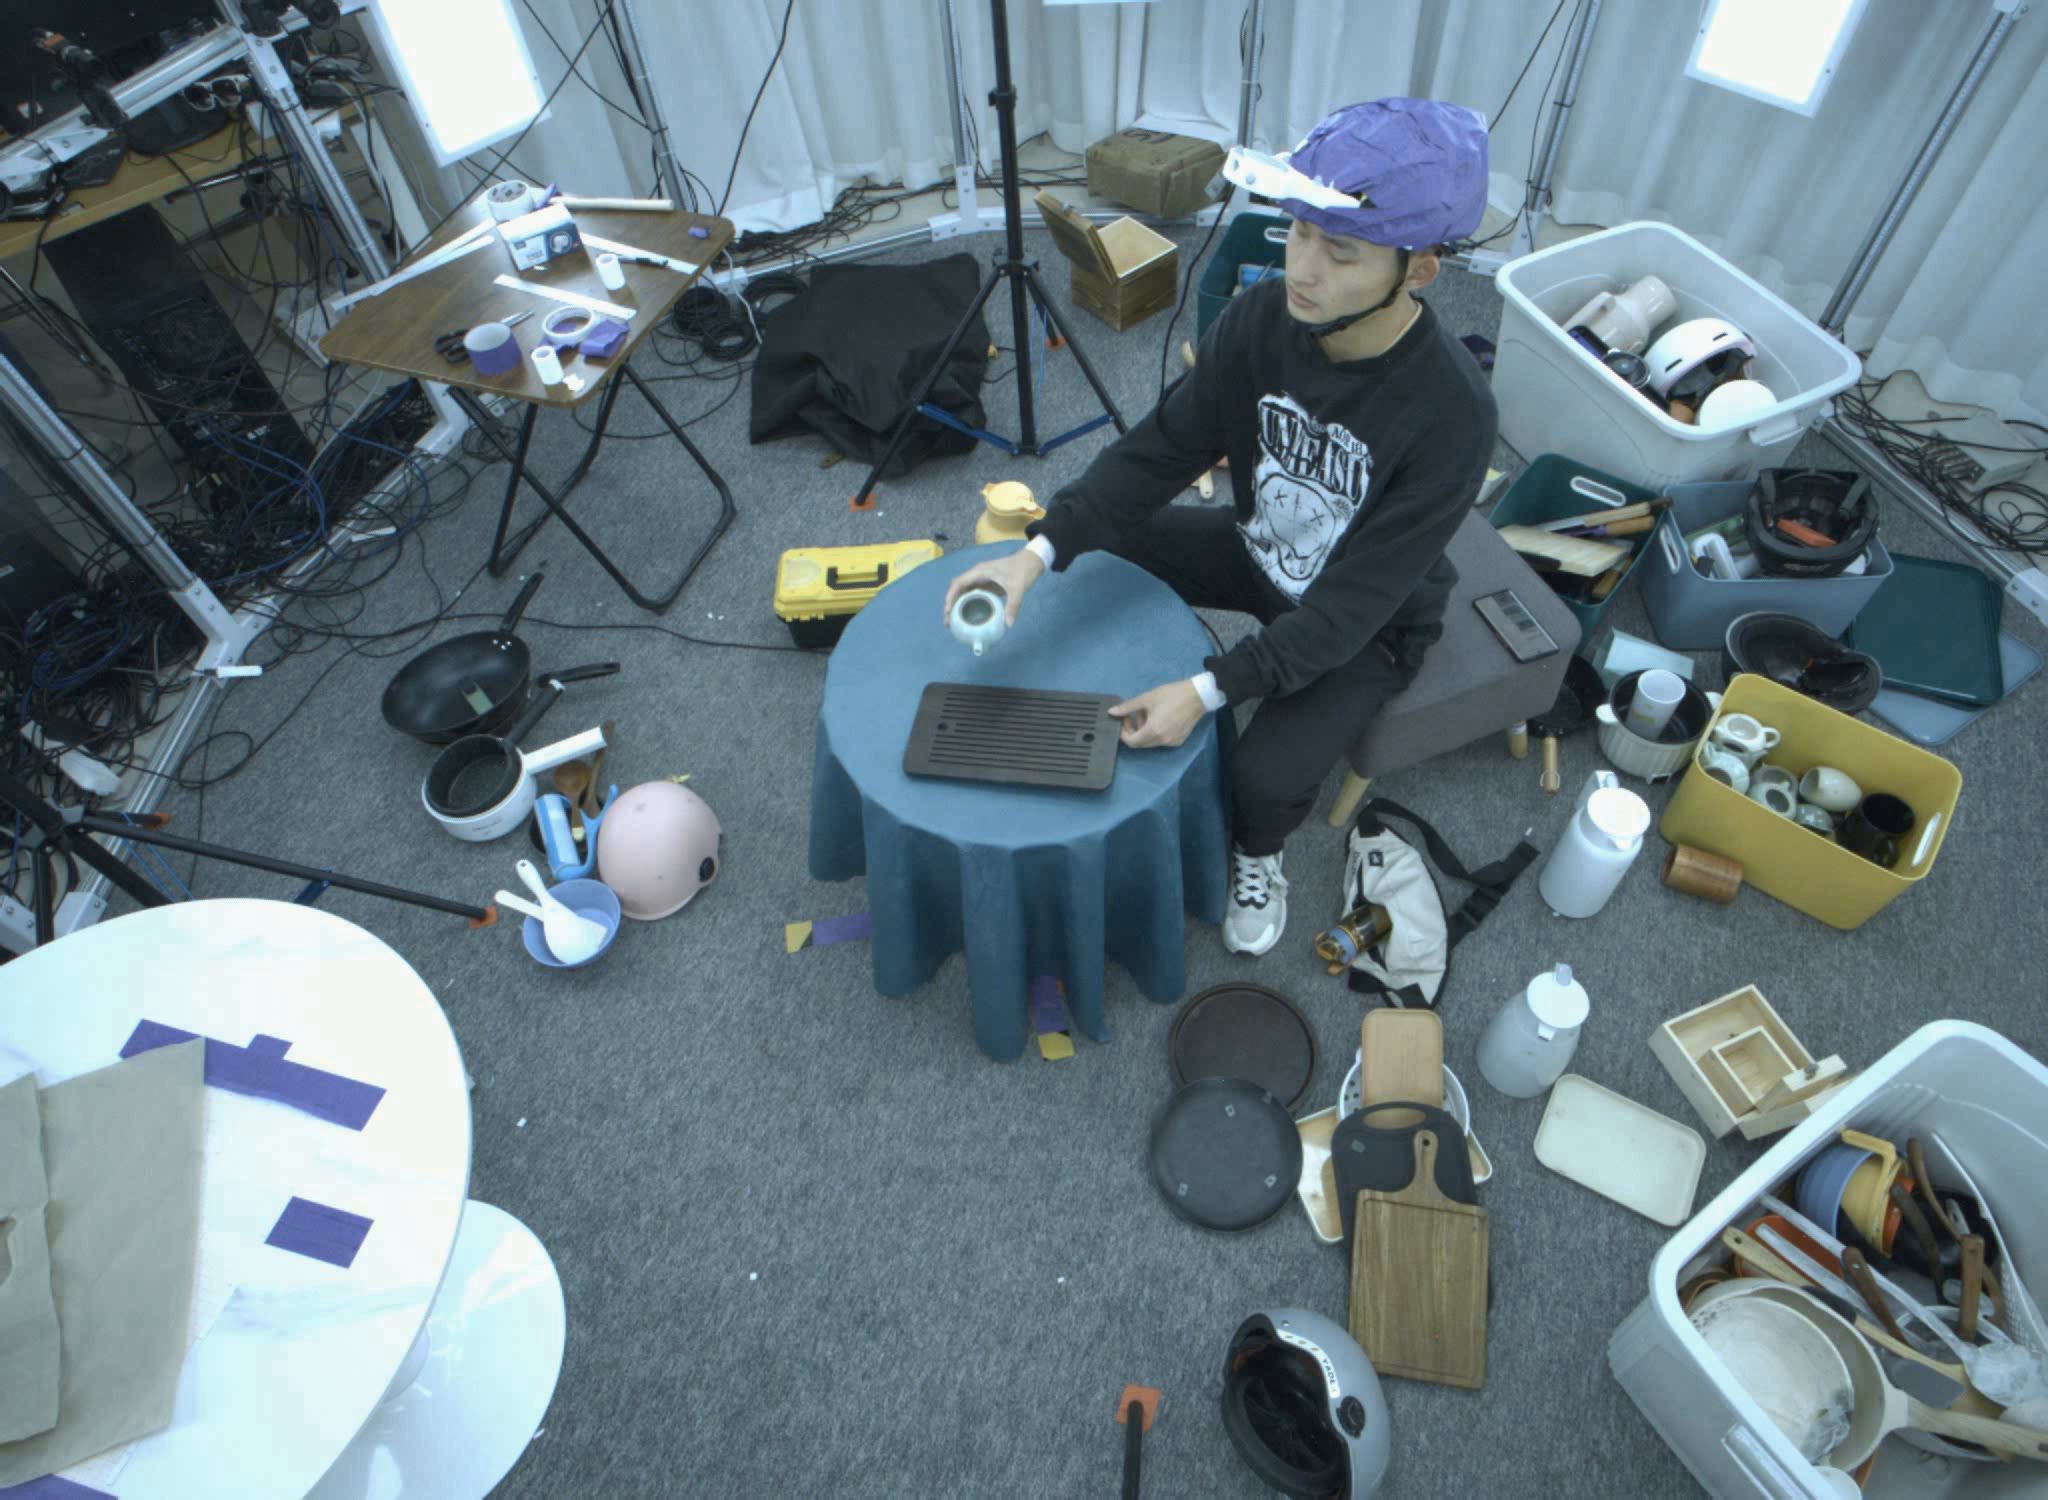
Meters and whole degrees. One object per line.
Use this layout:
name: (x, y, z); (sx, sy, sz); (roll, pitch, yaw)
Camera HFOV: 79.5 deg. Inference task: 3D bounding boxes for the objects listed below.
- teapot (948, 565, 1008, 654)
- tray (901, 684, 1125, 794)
teapot: (-0.067, -0.192, 1.781); (0.088, 0.075, 0.143); (-3, 71, 3)
tray: (-0.014, -0.017, 1.777); (0.304, 0.019, 0.169); (5, 55, 9)
